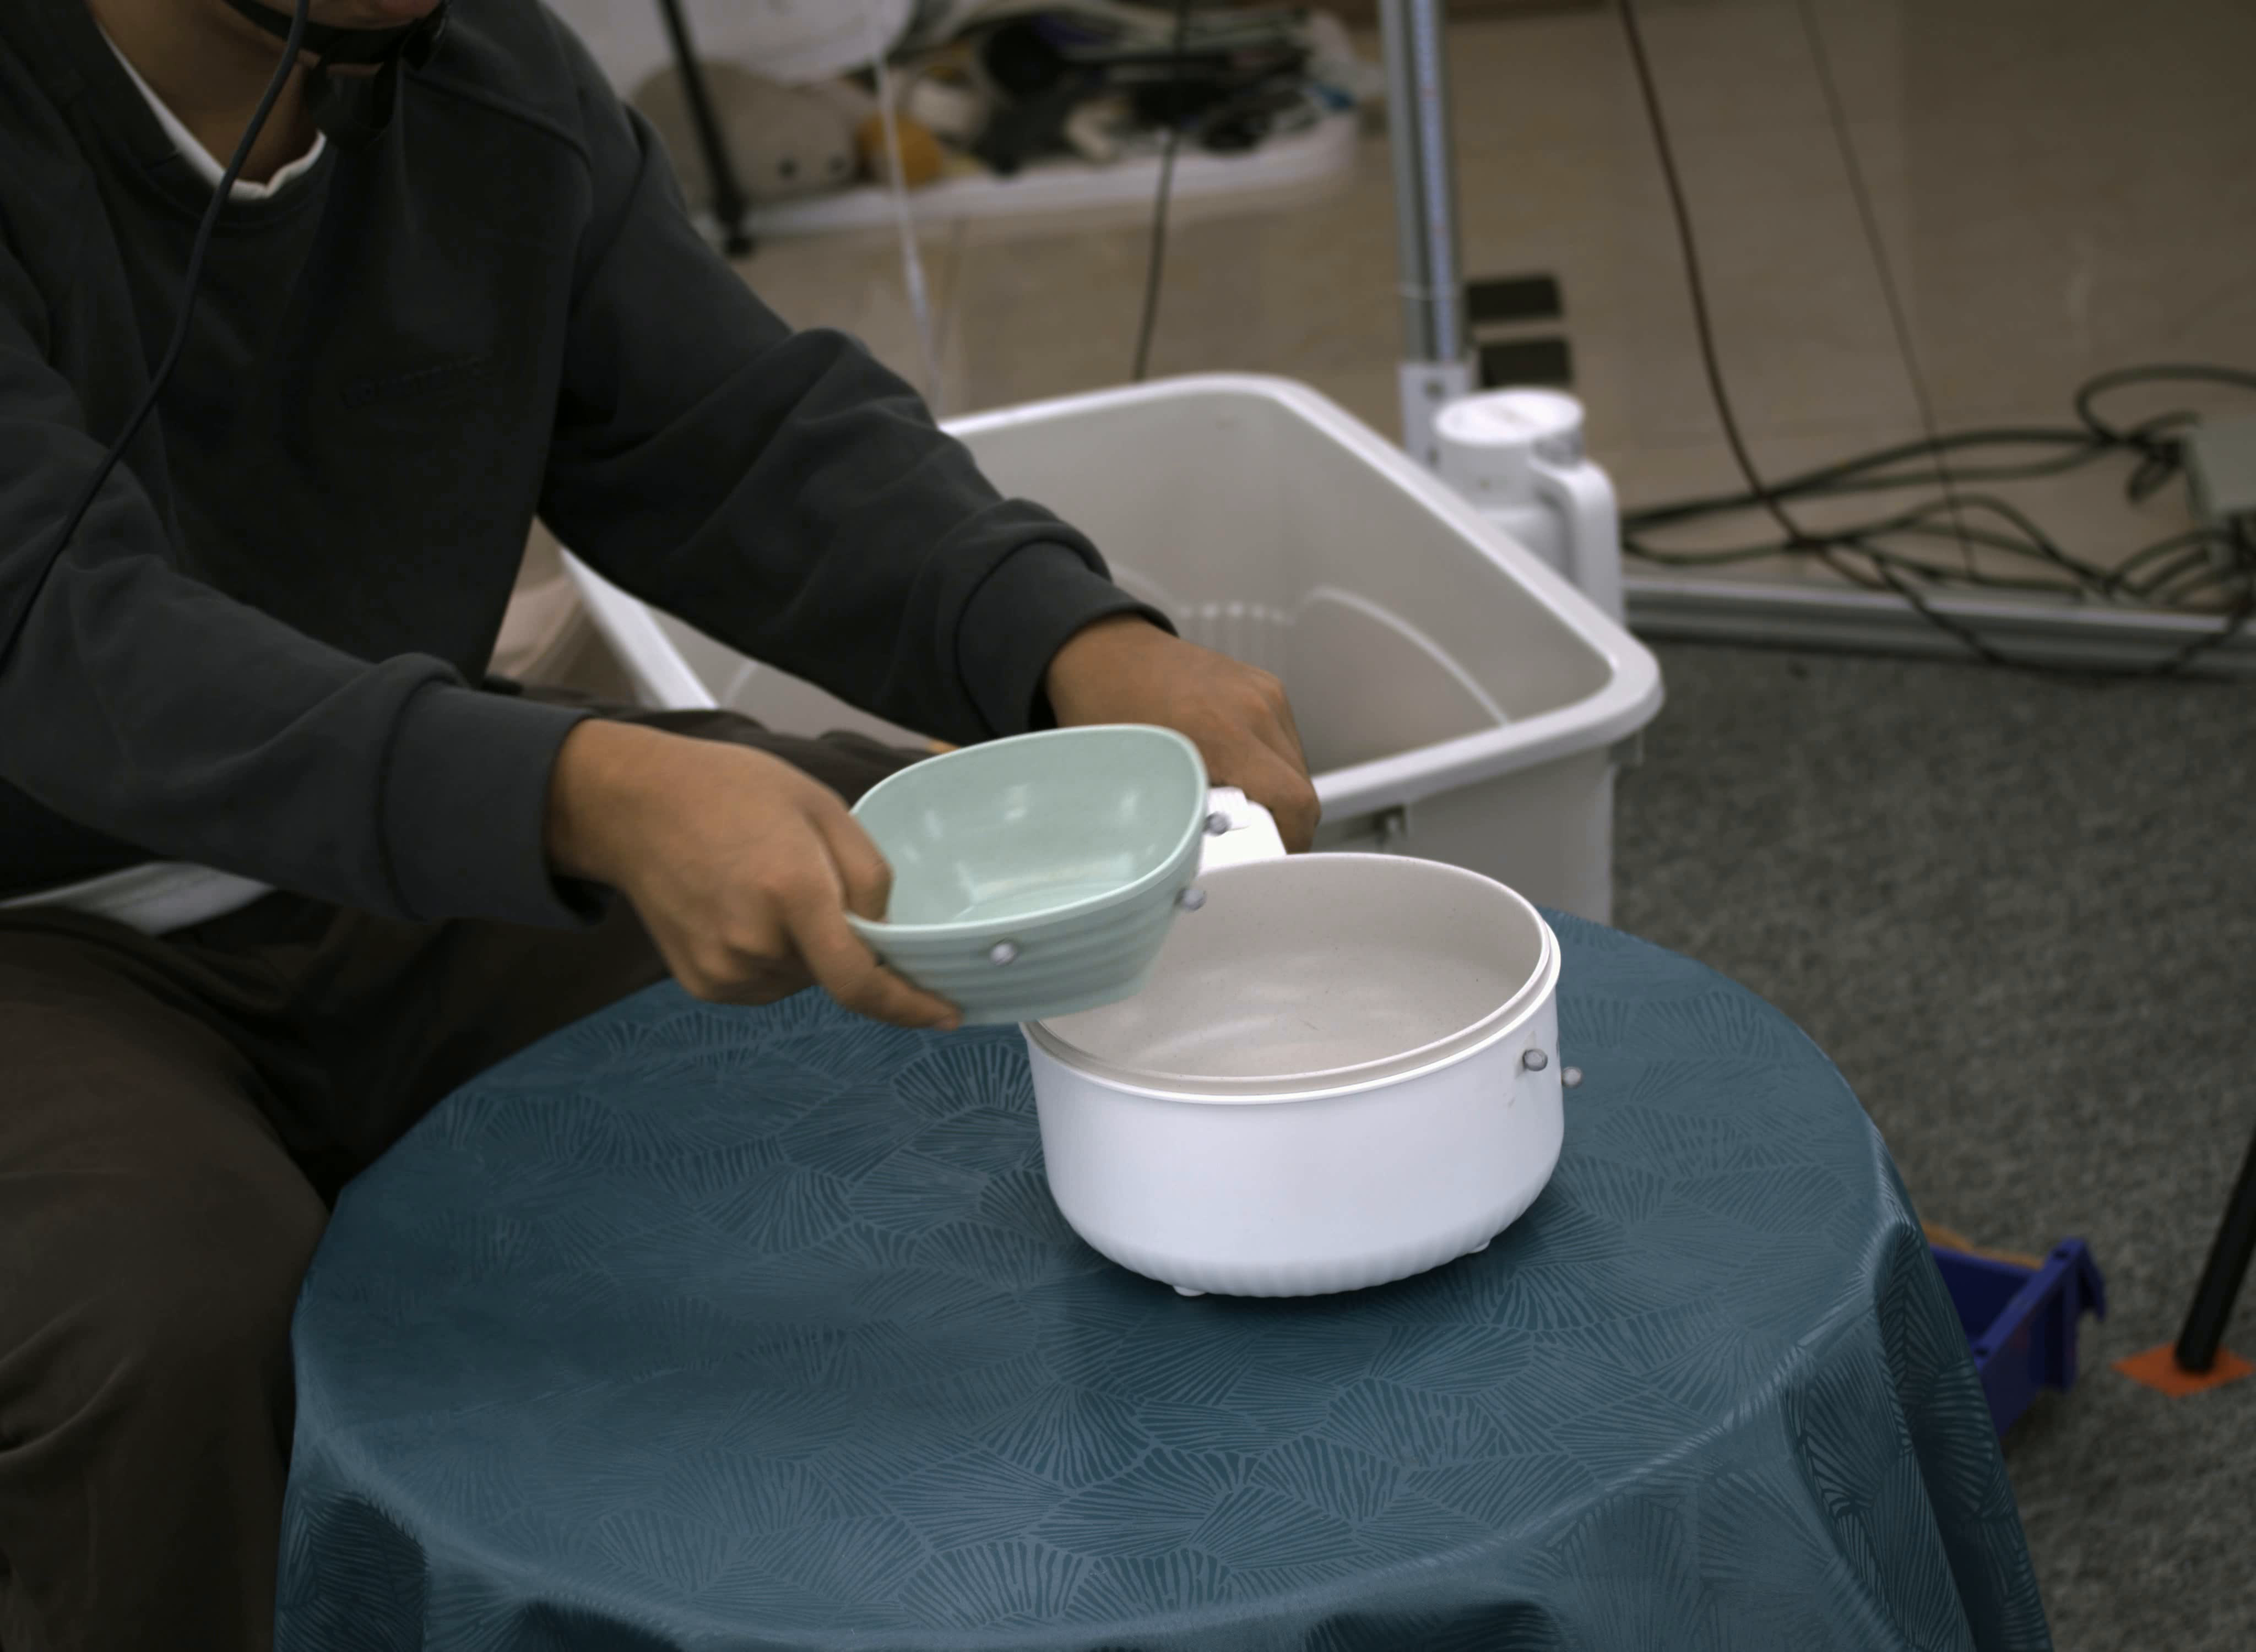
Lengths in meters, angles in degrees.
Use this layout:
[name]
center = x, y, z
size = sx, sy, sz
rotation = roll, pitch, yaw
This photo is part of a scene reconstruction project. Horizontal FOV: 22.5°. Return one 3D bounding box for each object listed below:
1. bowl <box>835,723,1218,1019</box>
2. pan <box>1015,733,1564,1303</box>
[bowl]
center = -0.032, 0.022, 2.038
size = 0.151, 0.059, 0.149
rotation = -9, 29, 5
[pan]
center = 0.054, 0.071, 2.174
size = 0.201, 0.103, 0.350
rotation = -10, 23, -4
